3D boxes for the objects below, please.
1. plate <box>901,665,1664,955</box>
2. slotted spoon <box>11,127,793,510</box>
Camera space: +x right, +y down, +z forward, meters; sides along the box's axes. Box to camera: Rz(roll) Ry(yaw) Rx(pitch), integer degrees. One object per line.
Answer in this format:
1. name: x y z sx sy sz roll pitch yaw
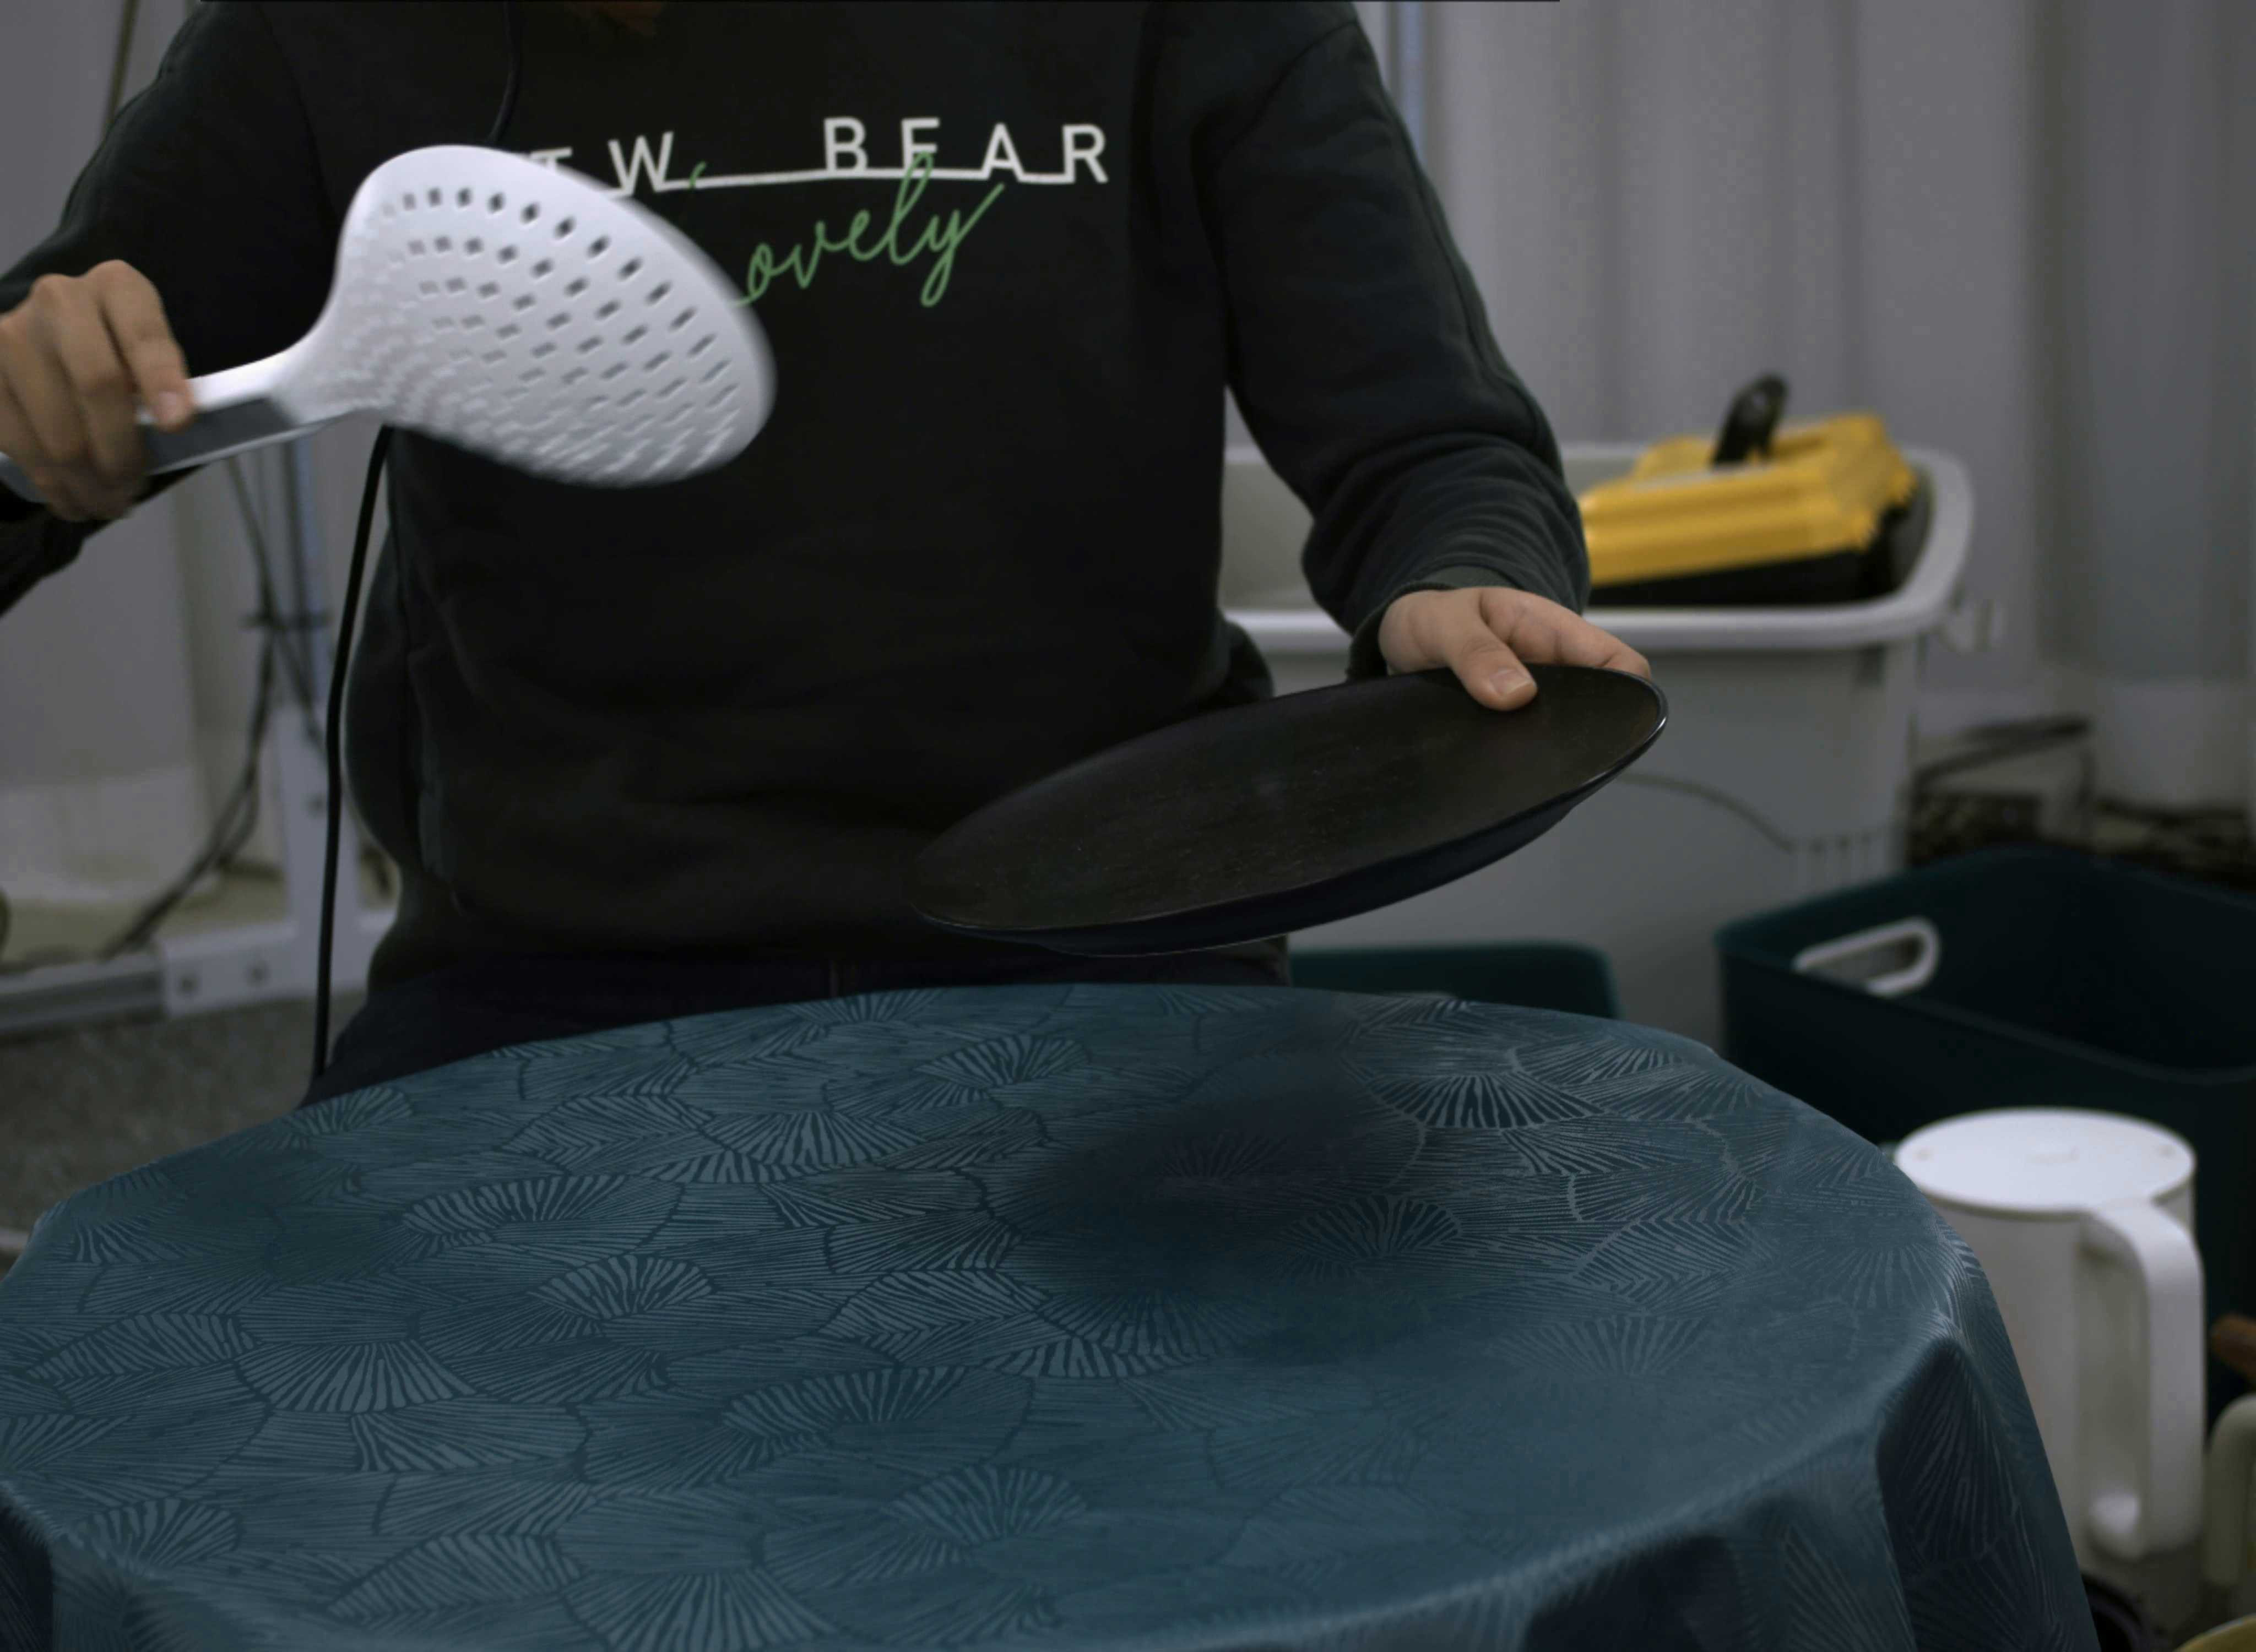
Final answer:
1. plate: 0.049 -0.002 1.696 0.243 0.023 0.246 -14 14 3
2. slotted spoon: -0.240 -0.140 1.697 0.350 0.134 0.046 -6 48 48
